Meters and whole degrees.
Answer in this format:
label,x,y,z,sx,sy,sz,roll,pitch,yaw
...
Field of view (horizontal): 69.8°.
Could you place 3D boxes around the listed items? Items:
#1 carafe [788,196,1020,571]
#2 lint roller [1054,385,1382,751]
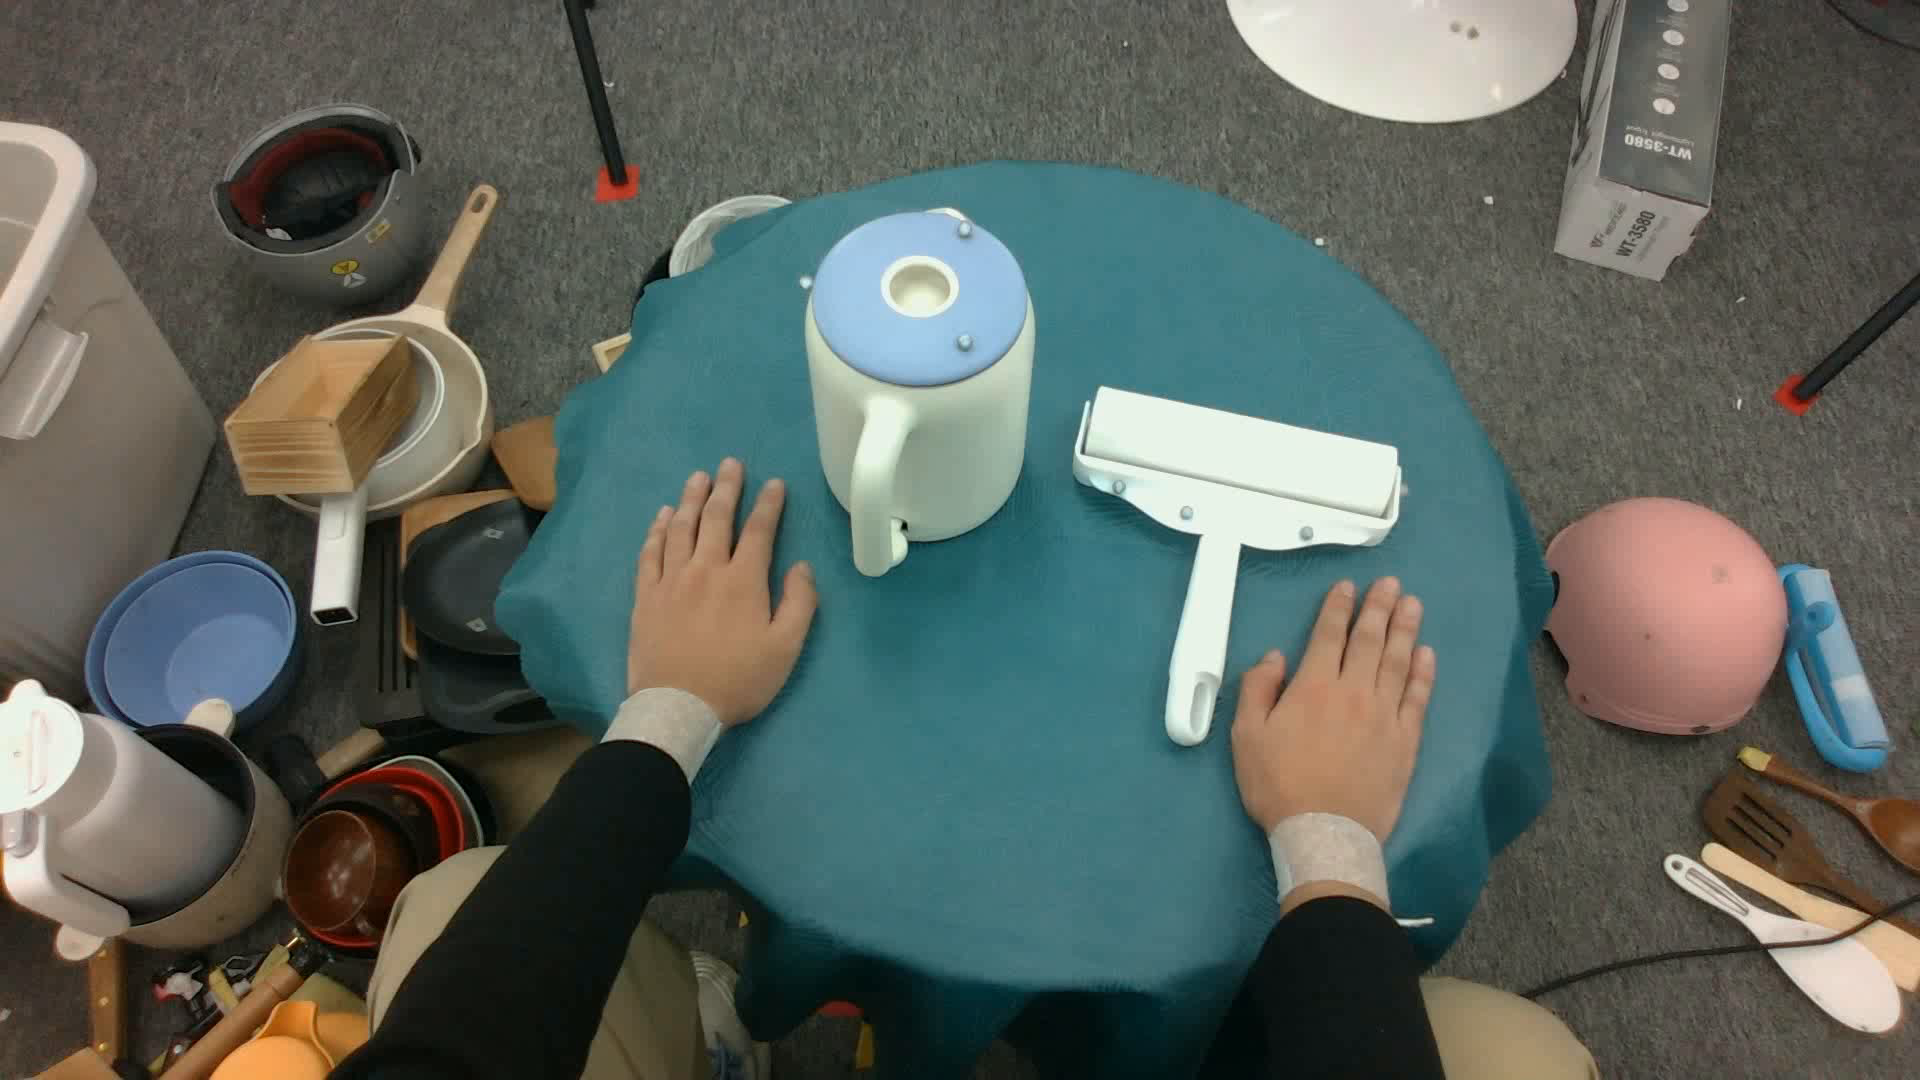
label,x,y,z,sx,sy,sz,roll,pitch,yaw
carafe,-0.038,-0.077,0.809,0.132,0.182,0.192,11,63,5
lint roller,0.146,0.018,0.835,0.203,0.048,0.226,13,62,4
